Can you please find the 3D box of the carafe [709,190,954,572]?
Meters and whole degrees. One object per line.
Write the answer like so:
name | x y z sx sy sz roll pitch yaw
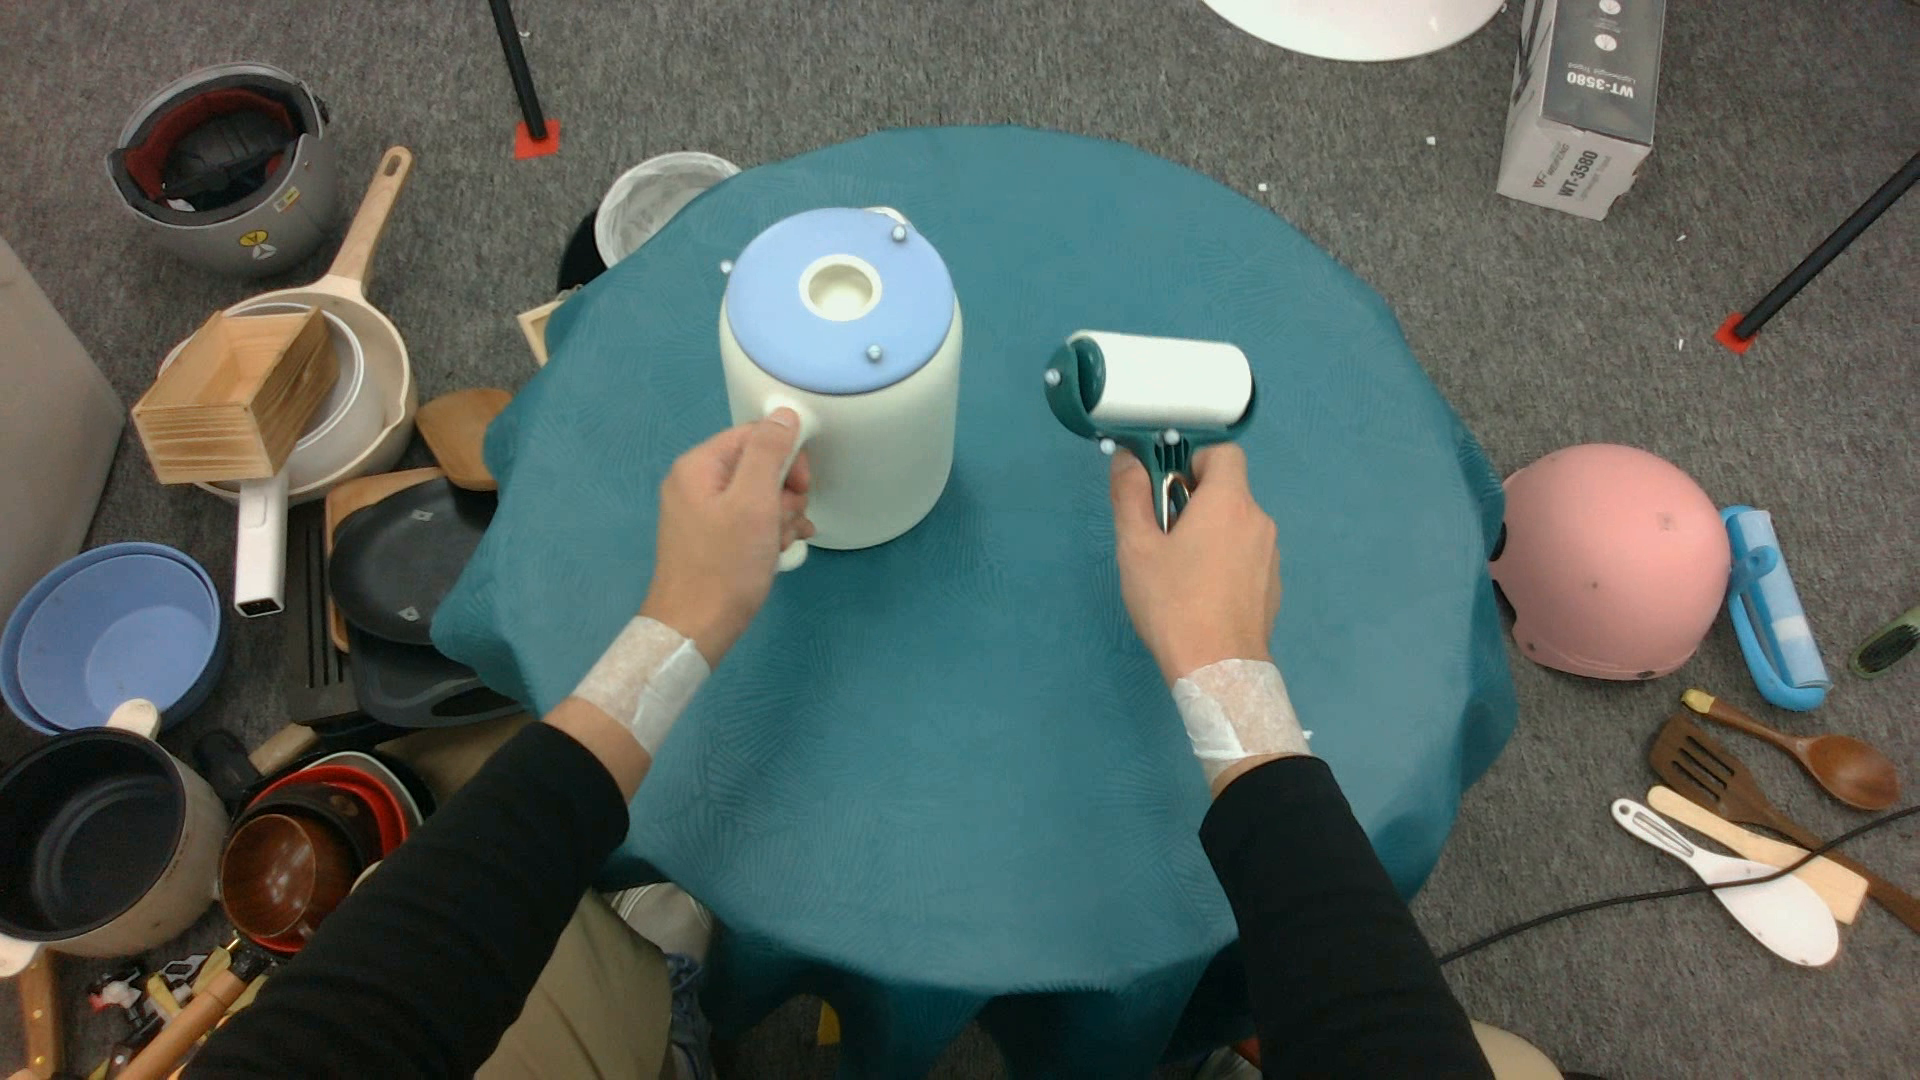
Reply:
carafe | -0.080 -0.075 0.771 0.132 0.182 0.192 19 65 7

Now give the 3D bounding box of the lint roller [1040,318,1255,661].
lint roller | 0.113 -0.029 0.722 0.134 0.048 0.180 -2 74 -33
